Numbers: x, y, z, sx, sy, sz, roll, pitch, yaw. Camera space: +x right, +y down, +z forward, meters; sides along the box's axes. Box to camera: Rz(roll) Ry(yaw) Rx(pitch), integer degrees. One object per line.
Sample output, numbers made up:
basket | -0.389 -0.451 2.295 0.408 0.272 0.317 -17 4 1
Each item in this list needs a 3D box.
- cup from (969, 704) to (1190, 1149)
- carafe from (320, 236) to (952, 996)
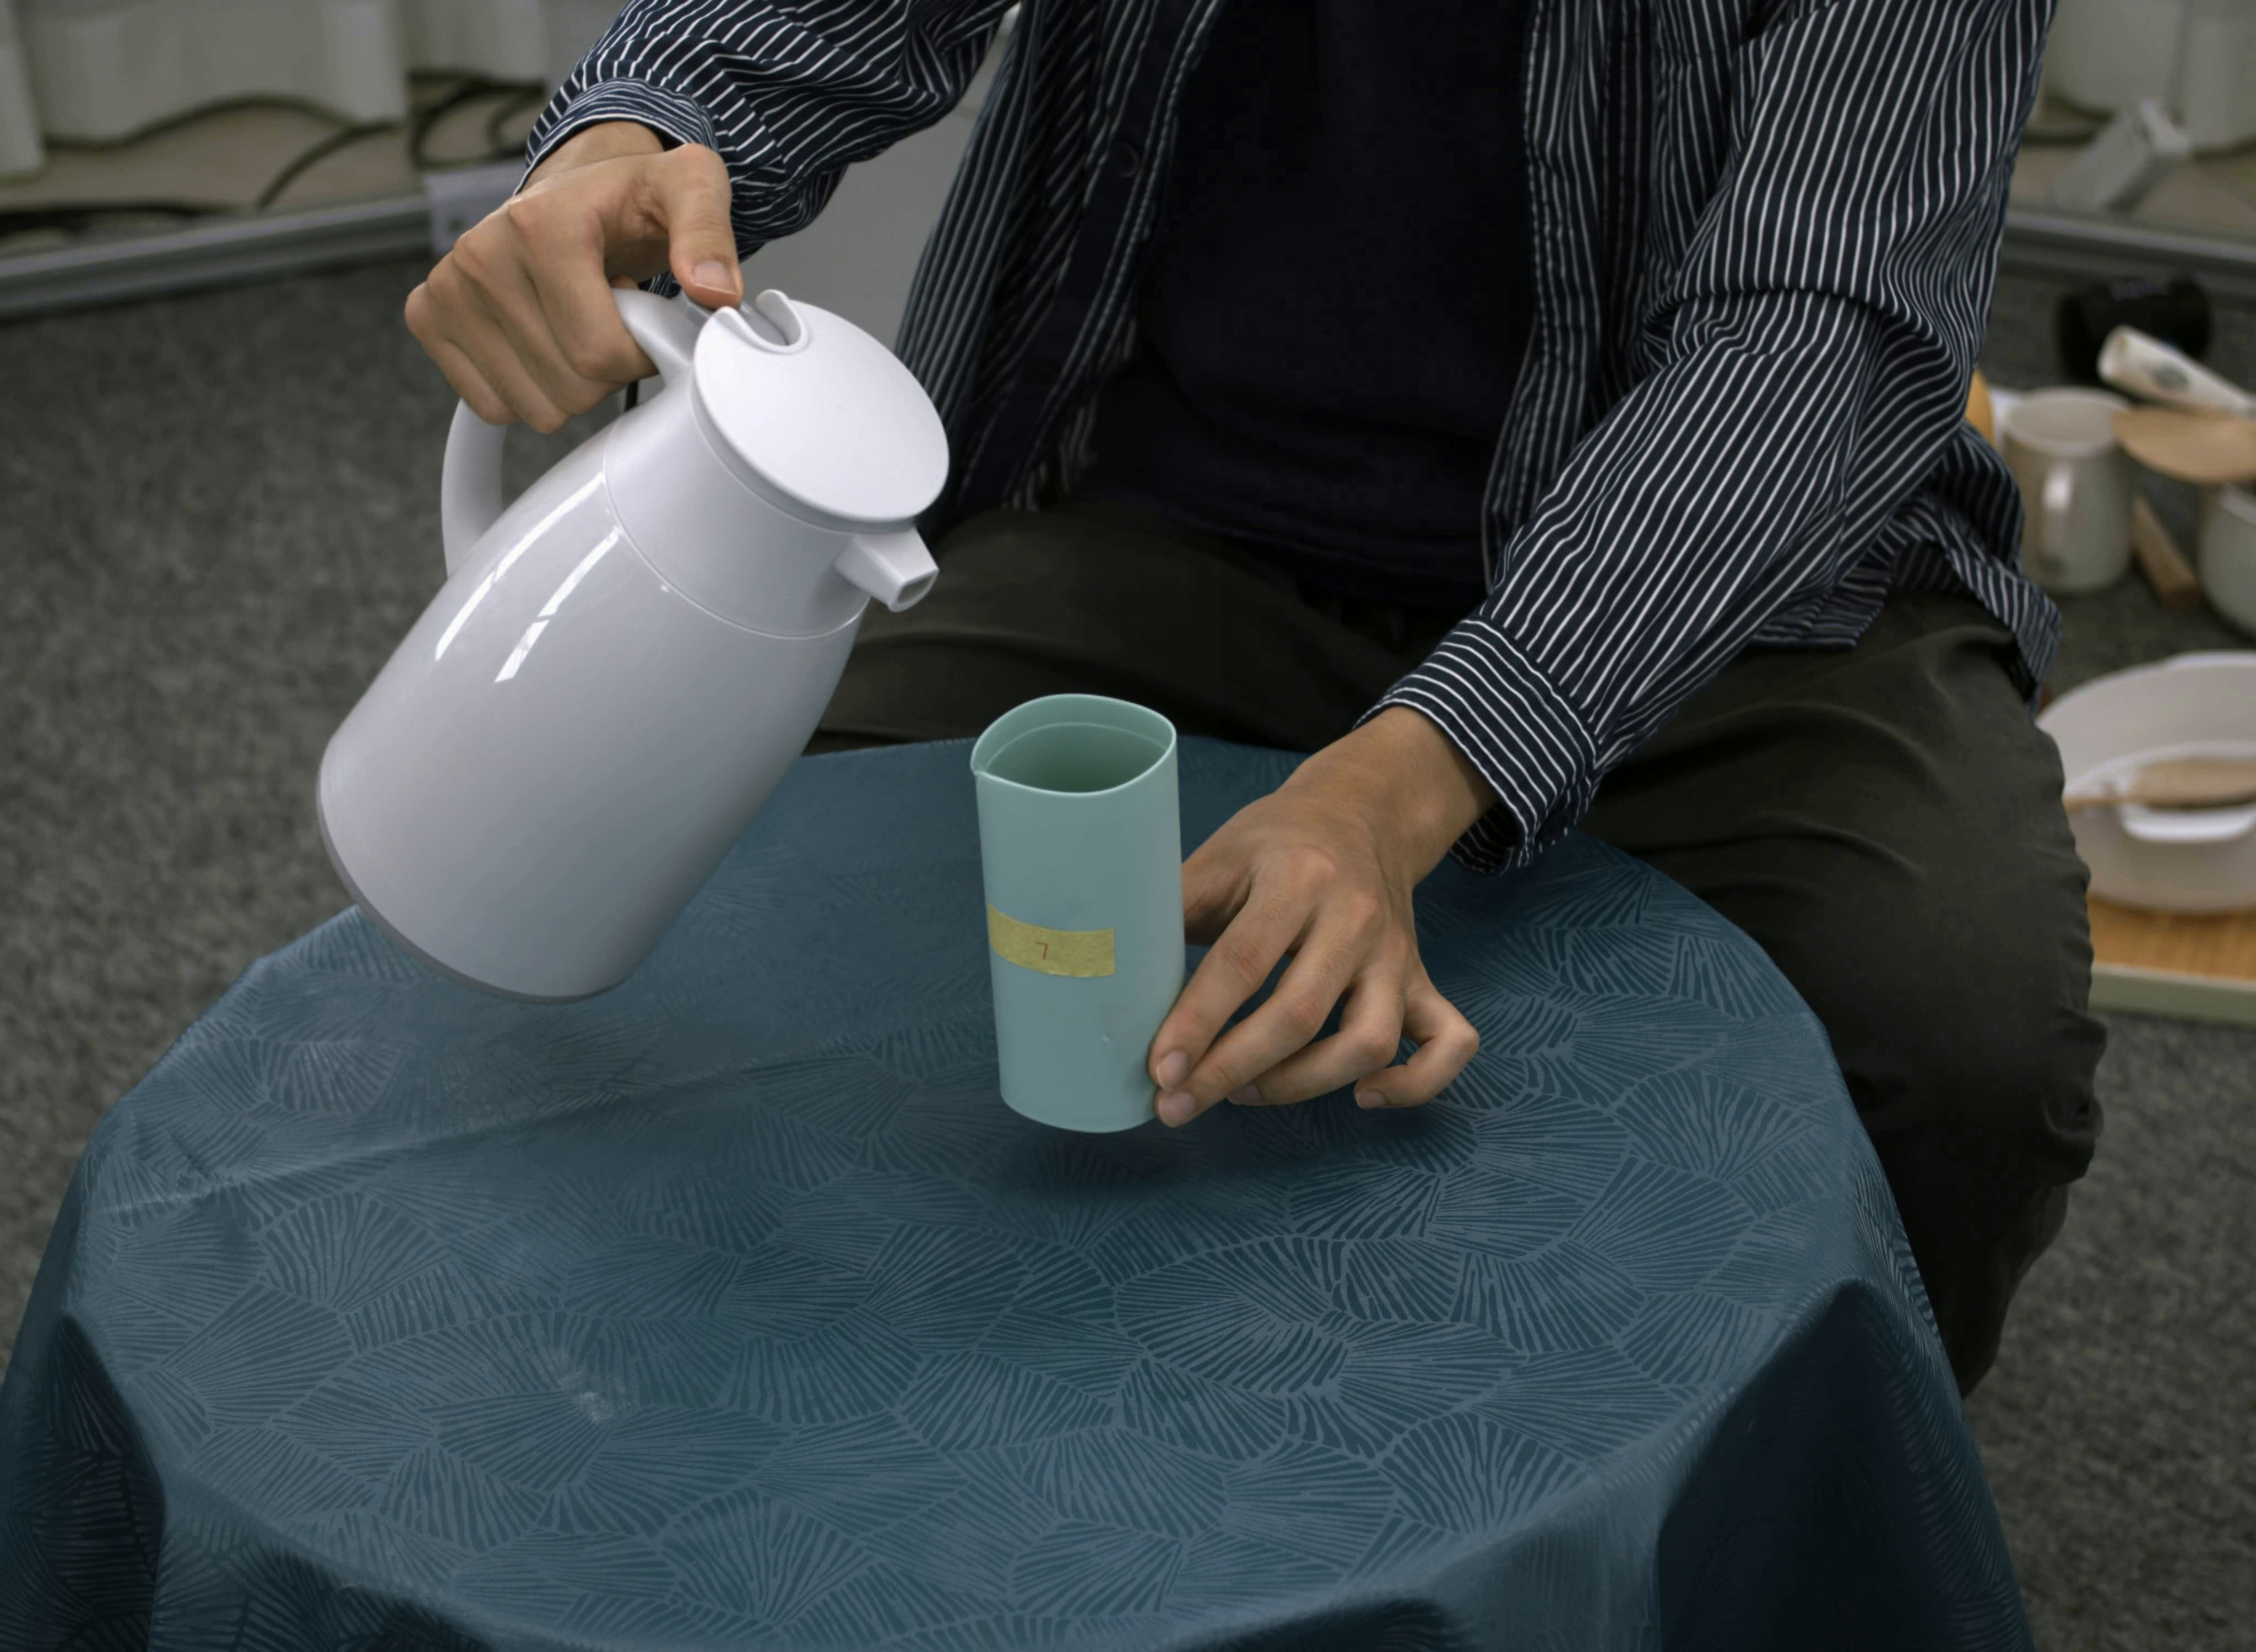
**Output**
cup | -0.014 0.032 1.834 0.066 0.131 0.068 -3 29 2
carafe | -0.167 -0.082 1.845 0.168 0.244 0.134 48 38 11
